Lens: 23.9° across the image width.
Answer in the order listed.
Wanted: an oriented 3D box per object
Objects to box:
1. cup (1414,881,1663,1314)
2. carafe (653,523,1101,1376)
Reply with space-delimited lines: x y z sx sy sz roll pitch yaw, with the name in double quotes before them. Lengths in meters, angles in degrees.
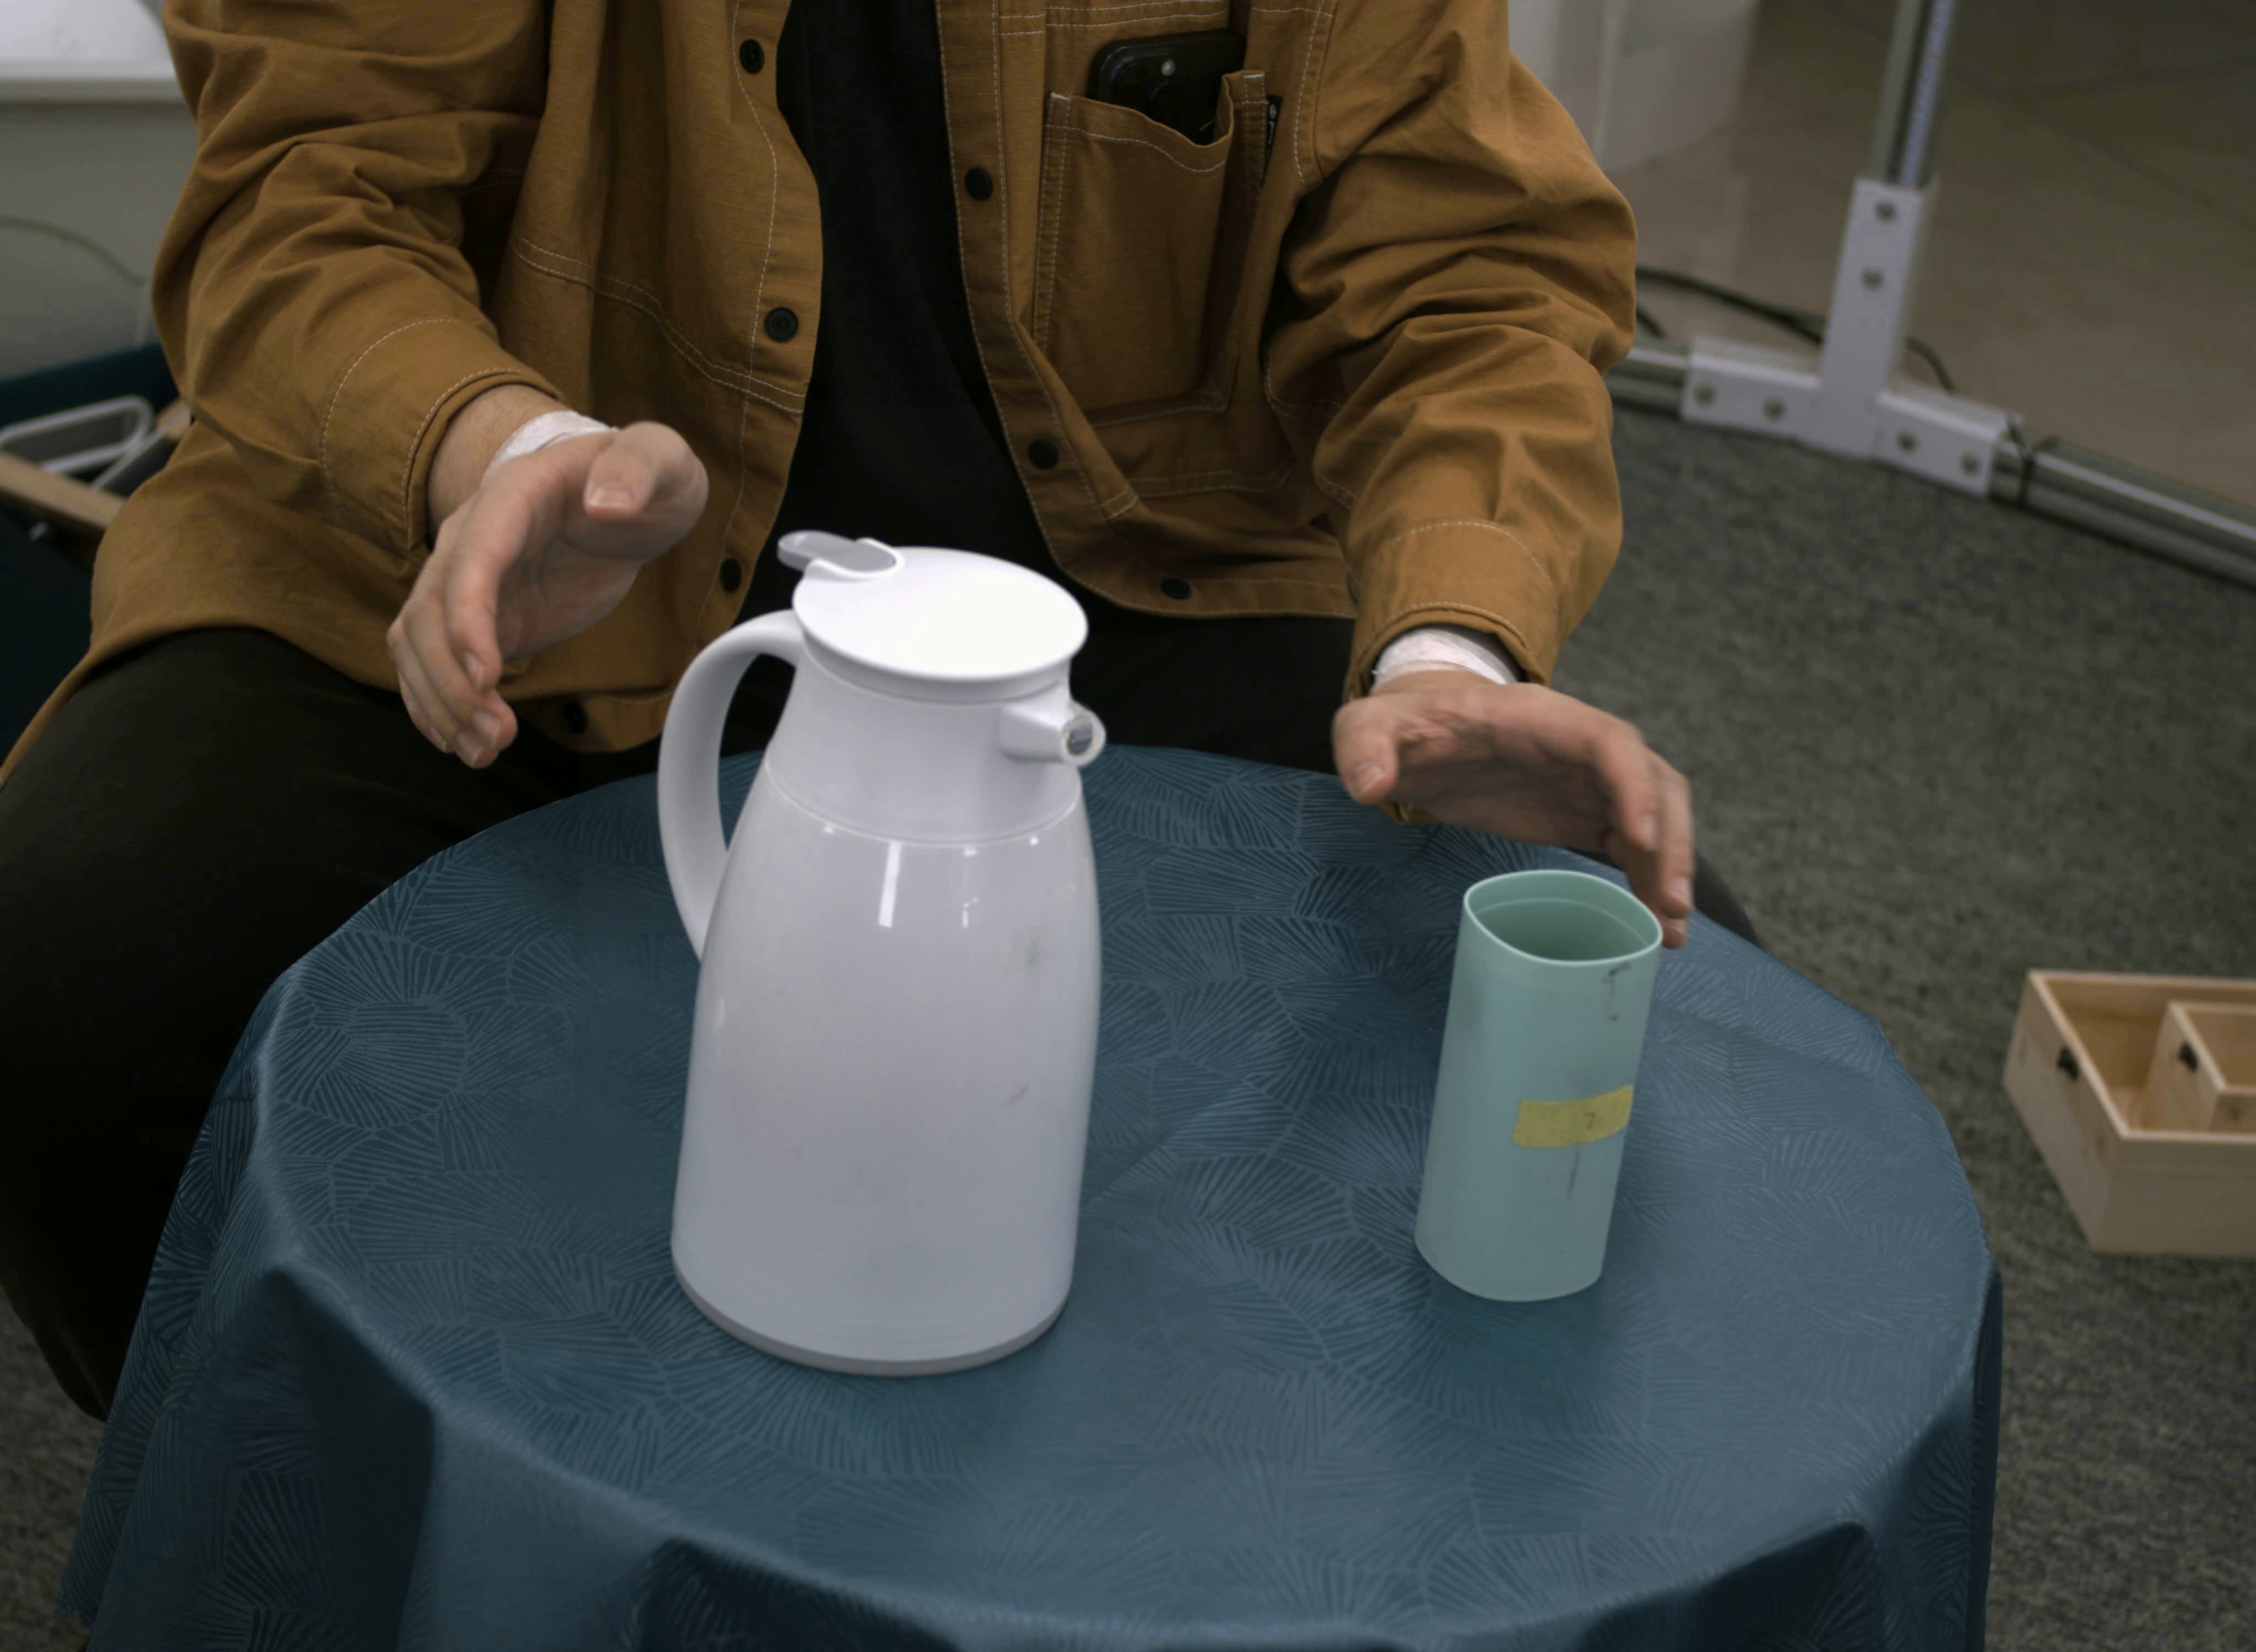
"cup" 0.135 0.089 1.766 0.066 0.132 0.067 6 26 -3
"carafe" -0.087 0.029 1.699 0.169 0.248 0.132 24 32 32
